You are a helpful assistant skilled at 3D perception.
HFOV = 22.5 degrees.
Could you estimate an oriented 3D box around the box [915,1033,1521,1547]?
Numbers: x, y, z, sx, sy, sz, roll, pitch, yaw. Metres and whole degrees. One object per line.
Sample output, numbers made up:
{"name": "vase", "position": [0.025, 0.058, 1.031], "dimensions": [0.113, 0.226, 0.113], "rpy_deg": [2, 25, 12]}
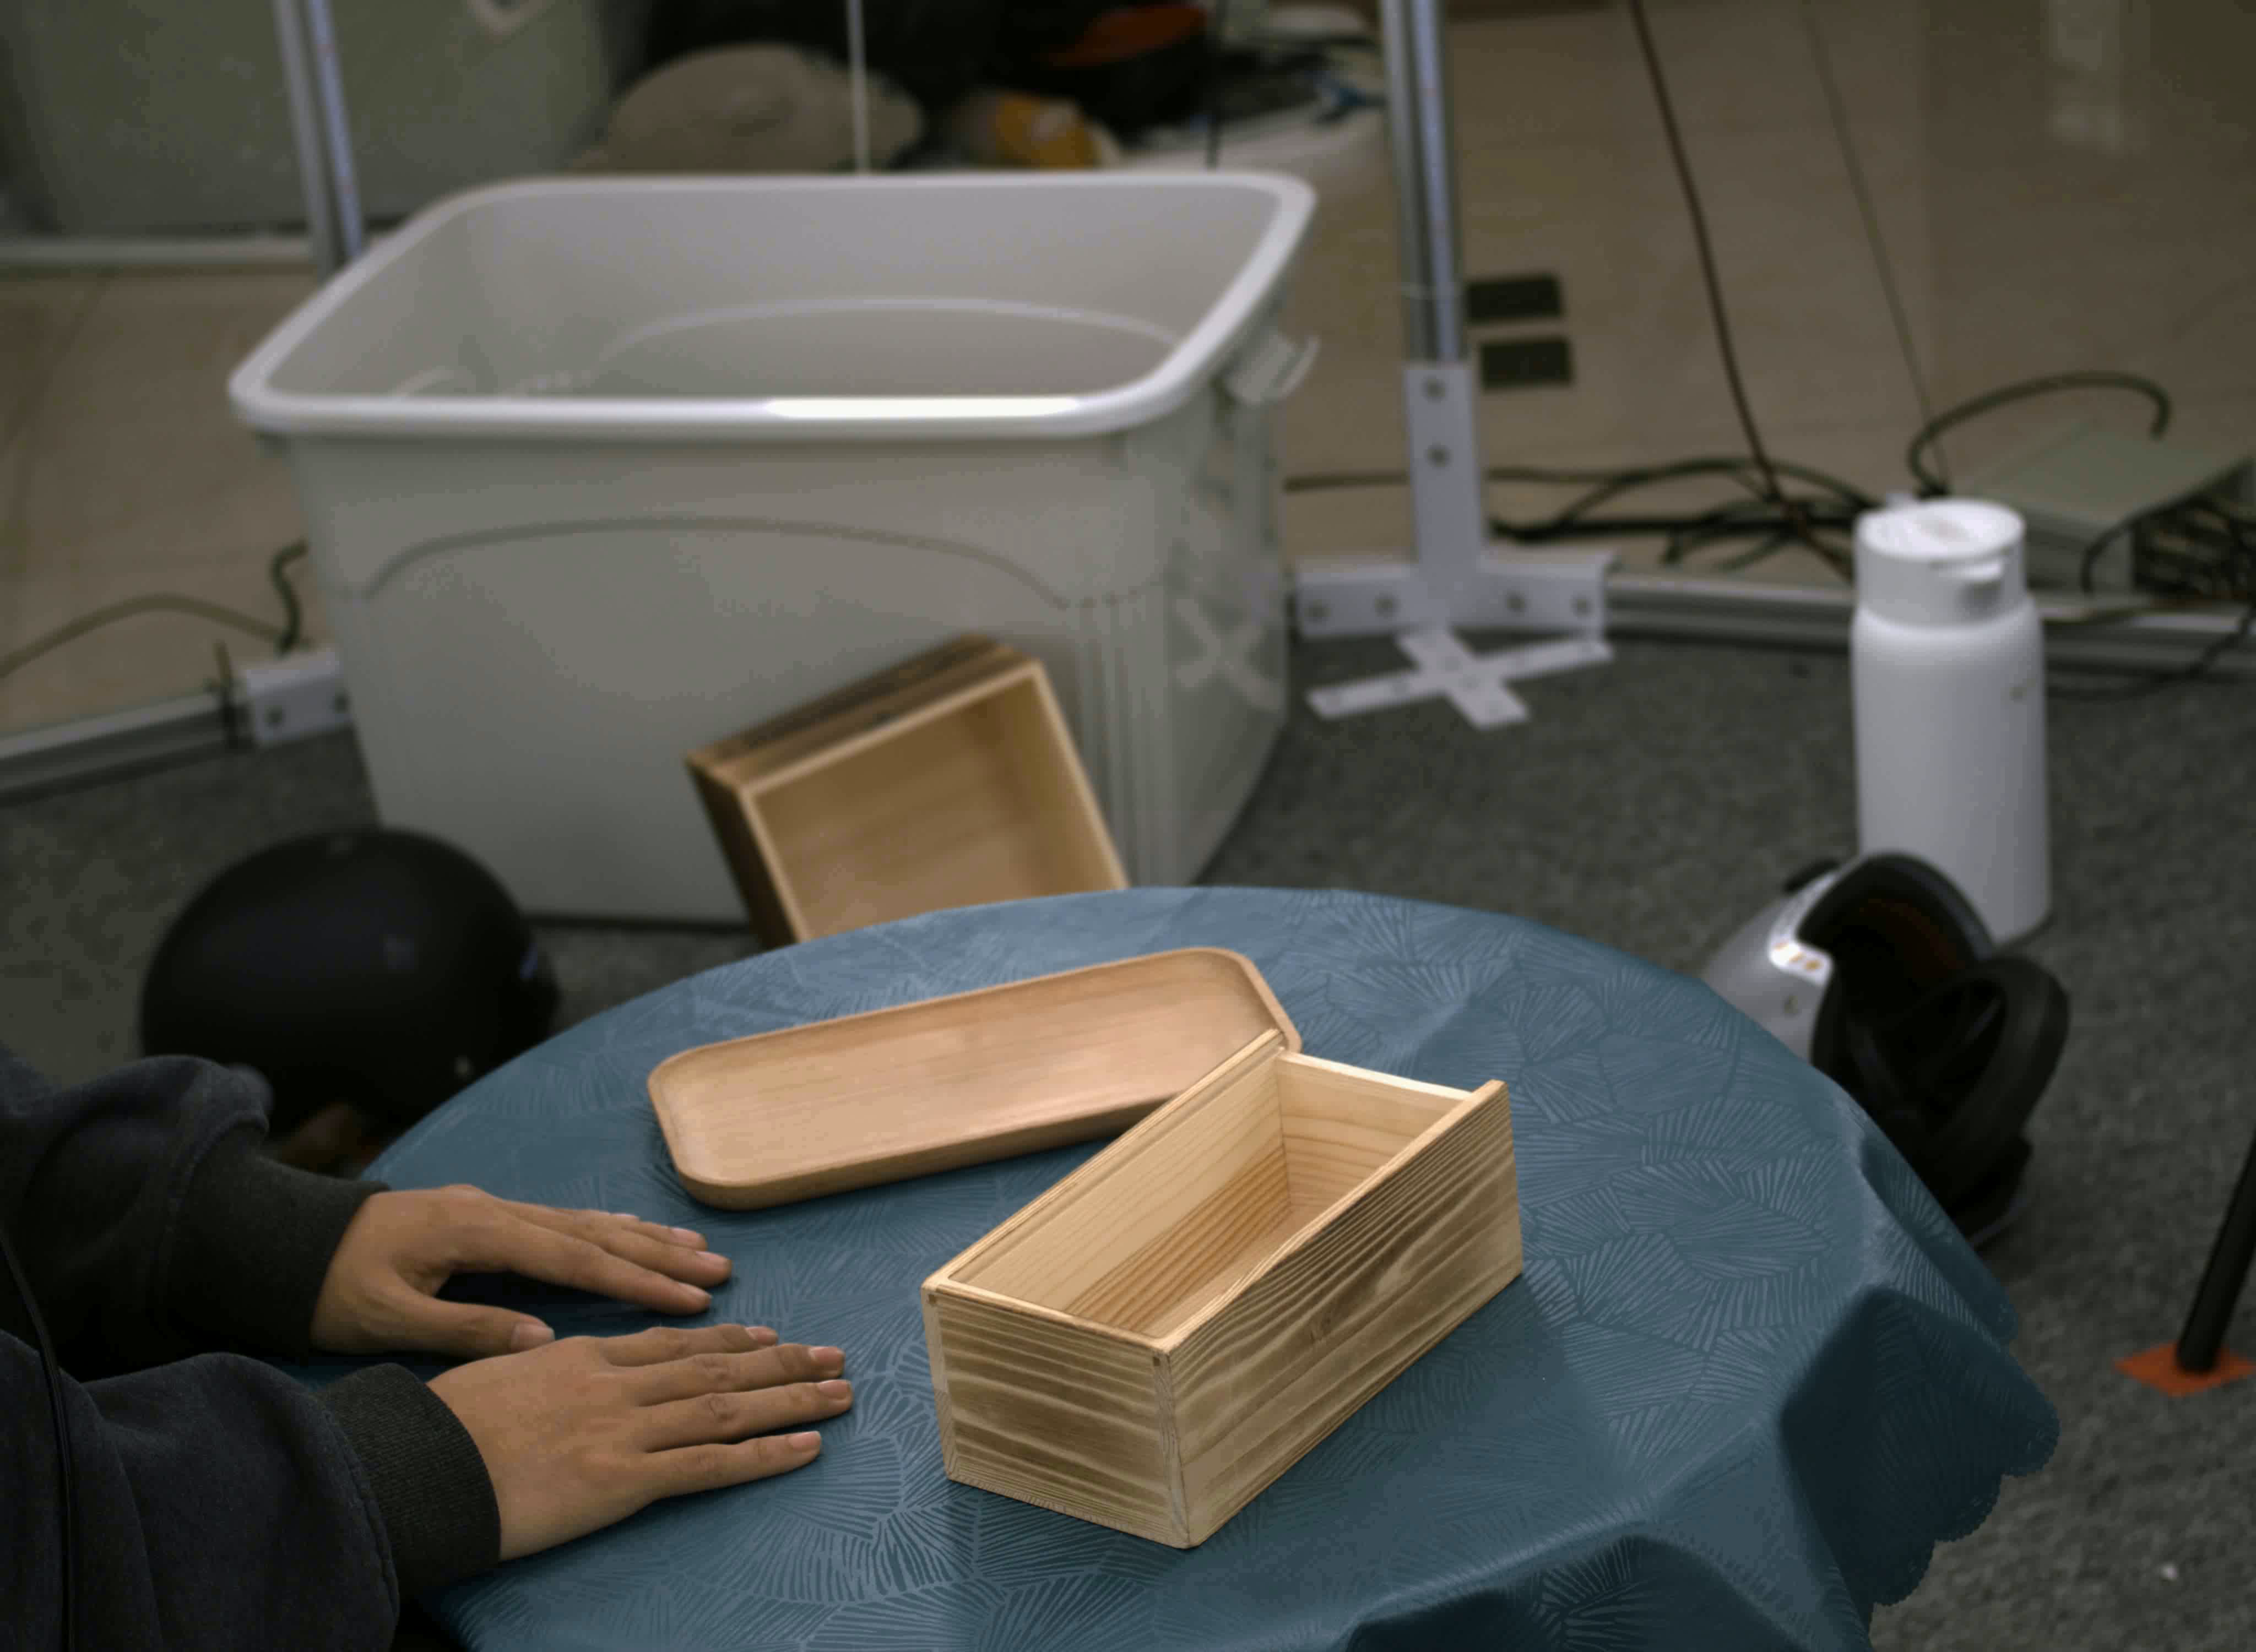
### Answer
{"name": "box", "position": [0.035, 0.159, 1.999], "dimensions": [0.107, 0.081, 0.209], "rpy_deg": [13, 31, 35]}

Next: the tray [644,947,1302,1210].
{"name": "tray", "position": [-0.061, 0.099, 2.228], "dimensions": [0.250, 0.023, 0.129], "rpy_deg": [-12, 23, -9]}
